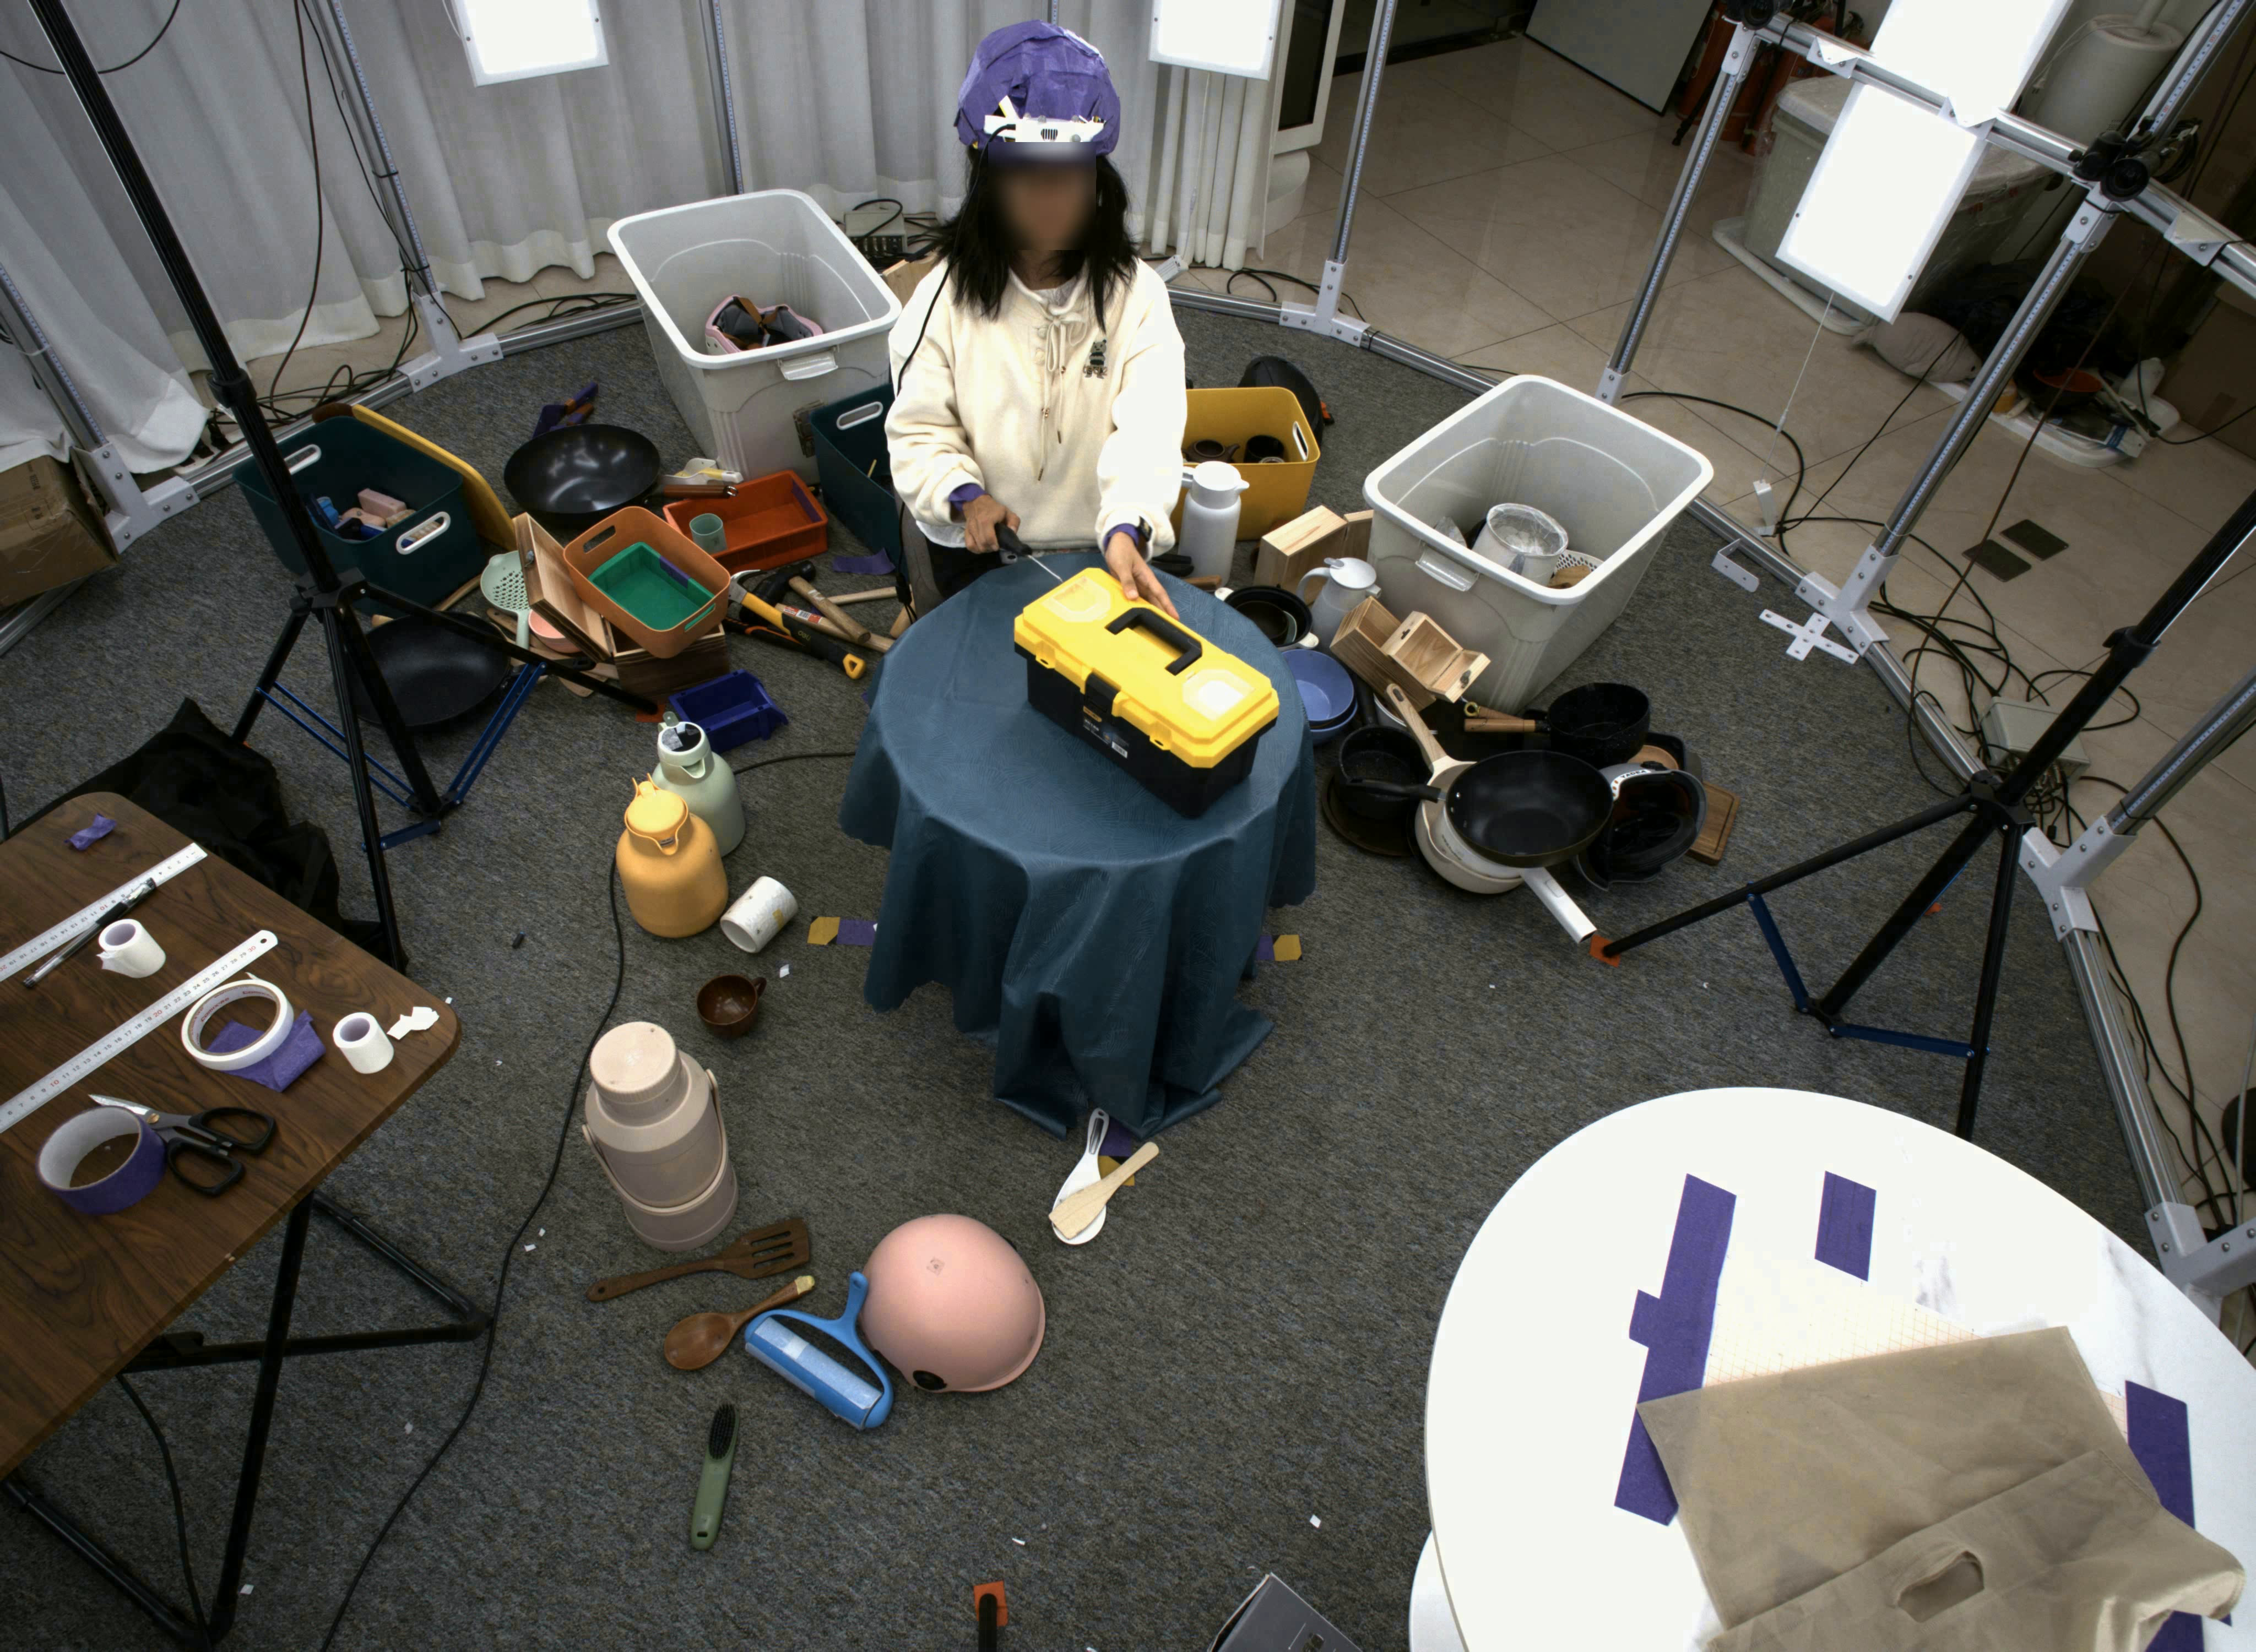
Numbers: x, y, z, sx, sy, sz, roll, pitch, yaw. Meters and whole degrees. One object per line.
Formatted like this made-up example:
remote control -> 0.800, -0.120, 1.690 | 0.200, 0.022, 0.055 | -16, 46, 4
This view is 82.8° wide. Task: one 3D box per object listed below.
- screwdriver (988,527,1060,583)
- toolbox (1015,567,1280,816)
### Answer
screwdriver -> -0.143, -0.377, 1.813 | 0.031, 0.031, 0.202 | -23, 43, -22
toolbox -> 0.017, -0.179, 1.715 | 0.356, 0.168, 0.183 | 38, 56, 25
